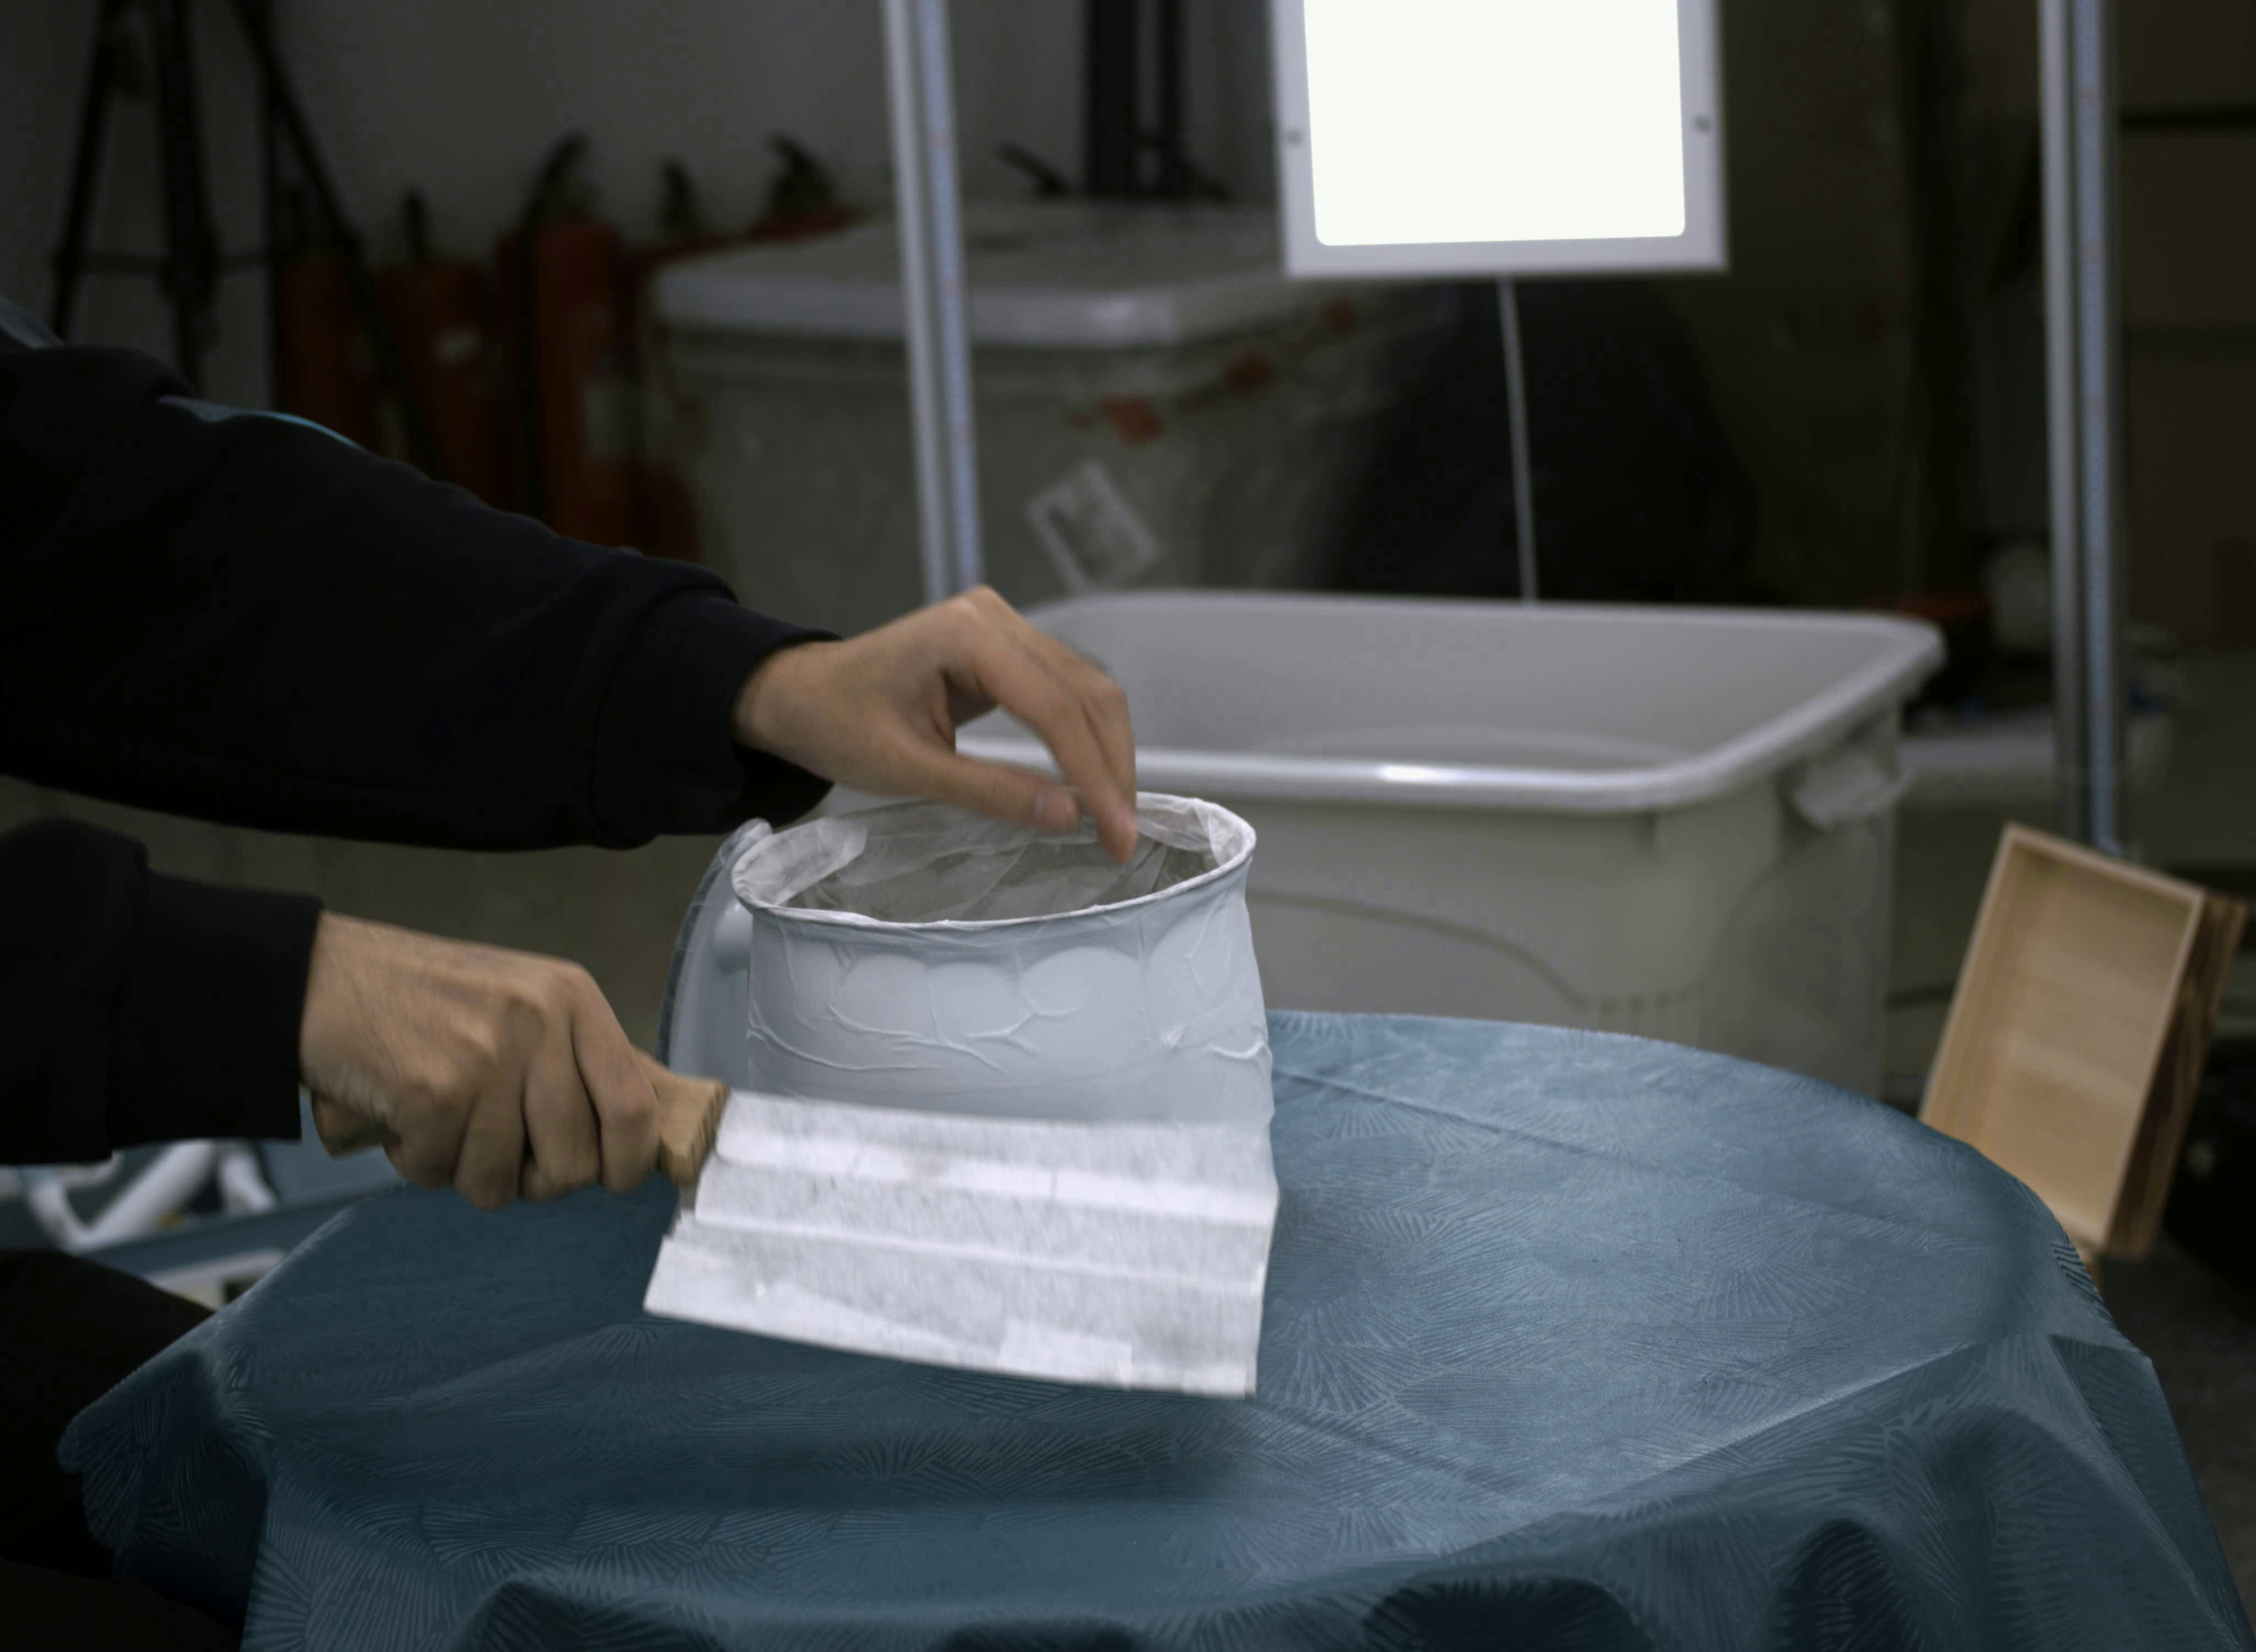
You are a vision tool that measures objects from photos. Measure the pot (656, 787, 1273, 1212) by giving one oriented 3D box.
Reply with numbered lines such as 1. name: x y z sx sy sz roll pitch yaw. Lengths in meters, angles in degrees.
1. pot: -0.064 0.068 1.868 0.238 0.137 0.174 5 16 33

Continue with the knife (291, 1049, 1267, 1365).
1. knife: -0.105 0.107 1.674 0.318 0.022 0.113 9 50 14
